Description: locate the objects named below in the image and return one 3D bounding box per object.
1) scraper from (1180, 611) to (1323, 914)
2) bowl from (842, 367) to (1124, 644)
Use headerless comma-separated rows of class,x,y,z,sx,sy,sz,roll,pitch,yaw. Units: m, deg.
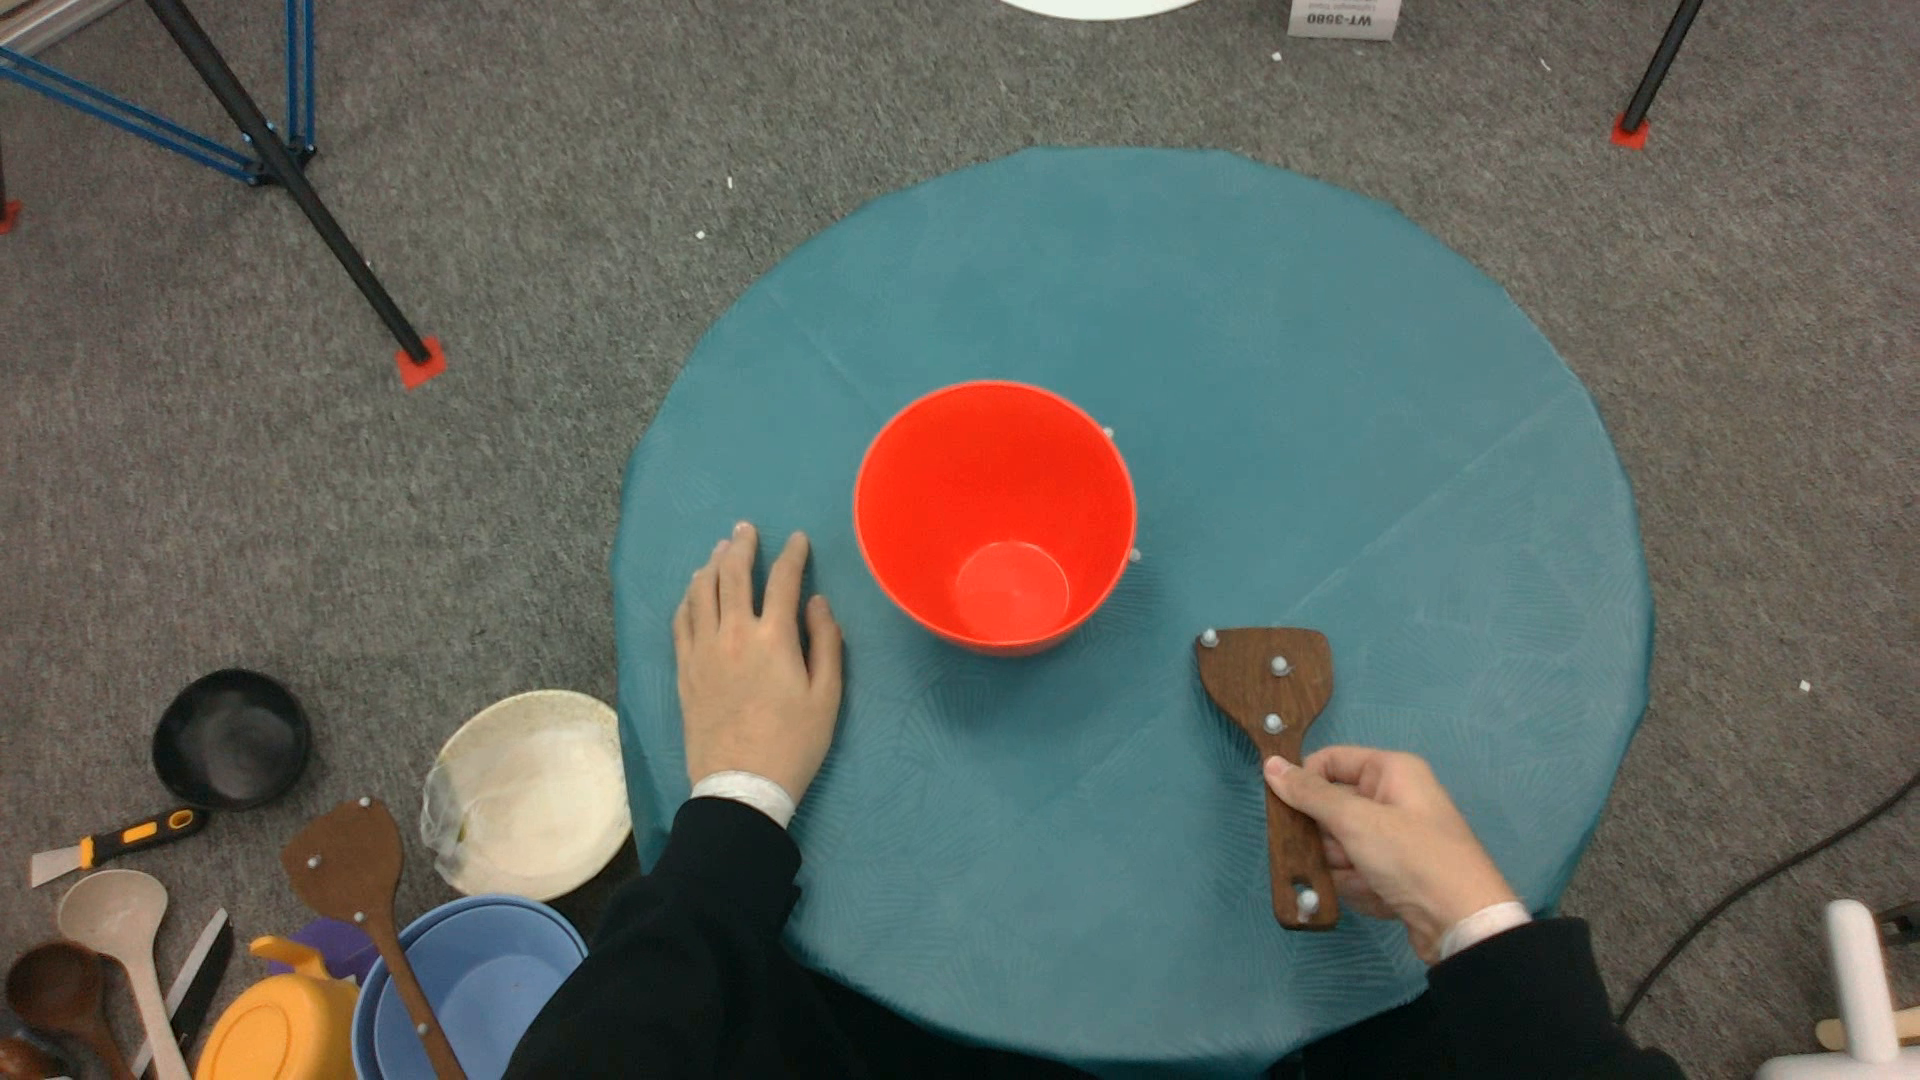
scraper,0.154,0.104,0.691,0.076,0.011,0.212,0,34,5
bowl,0.014,-0.006,0.754,0.148,0.104,0.148,-1,63,1
